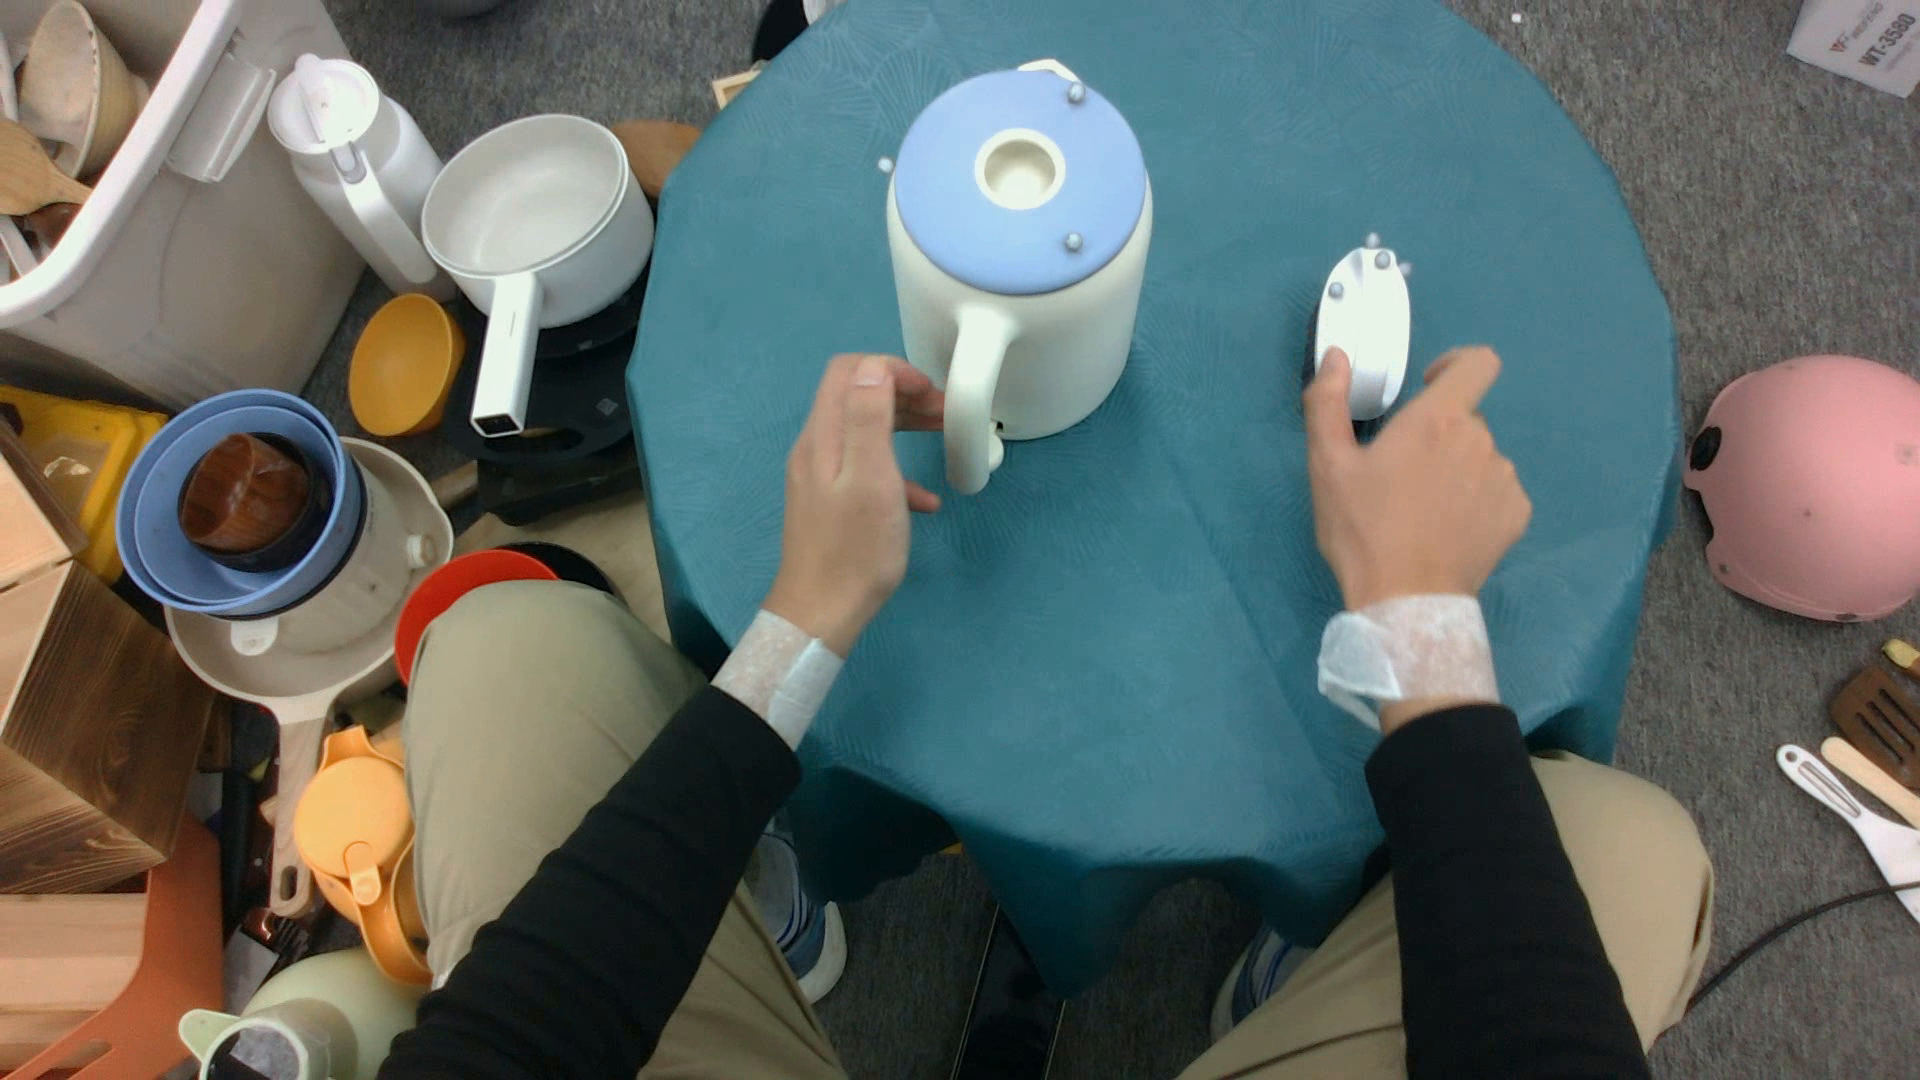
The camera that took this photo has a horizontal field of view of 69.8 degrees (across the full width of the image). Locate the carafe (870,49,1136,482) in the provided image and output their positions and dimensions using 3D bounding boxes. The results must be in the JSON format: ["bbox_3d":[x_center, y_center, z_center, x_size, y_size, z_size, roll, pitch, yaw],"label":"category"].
[{"bbox_3d":[0.016,-0.127,0.716,0.132,0.182,0.191,12,74,5],"label":"carafe"}]

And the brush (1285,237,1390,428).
[{"bbox_3d":[0.214,-0.121,0.763,0.050,0.072,0.099,10,72,4],"label":"brush"}]
